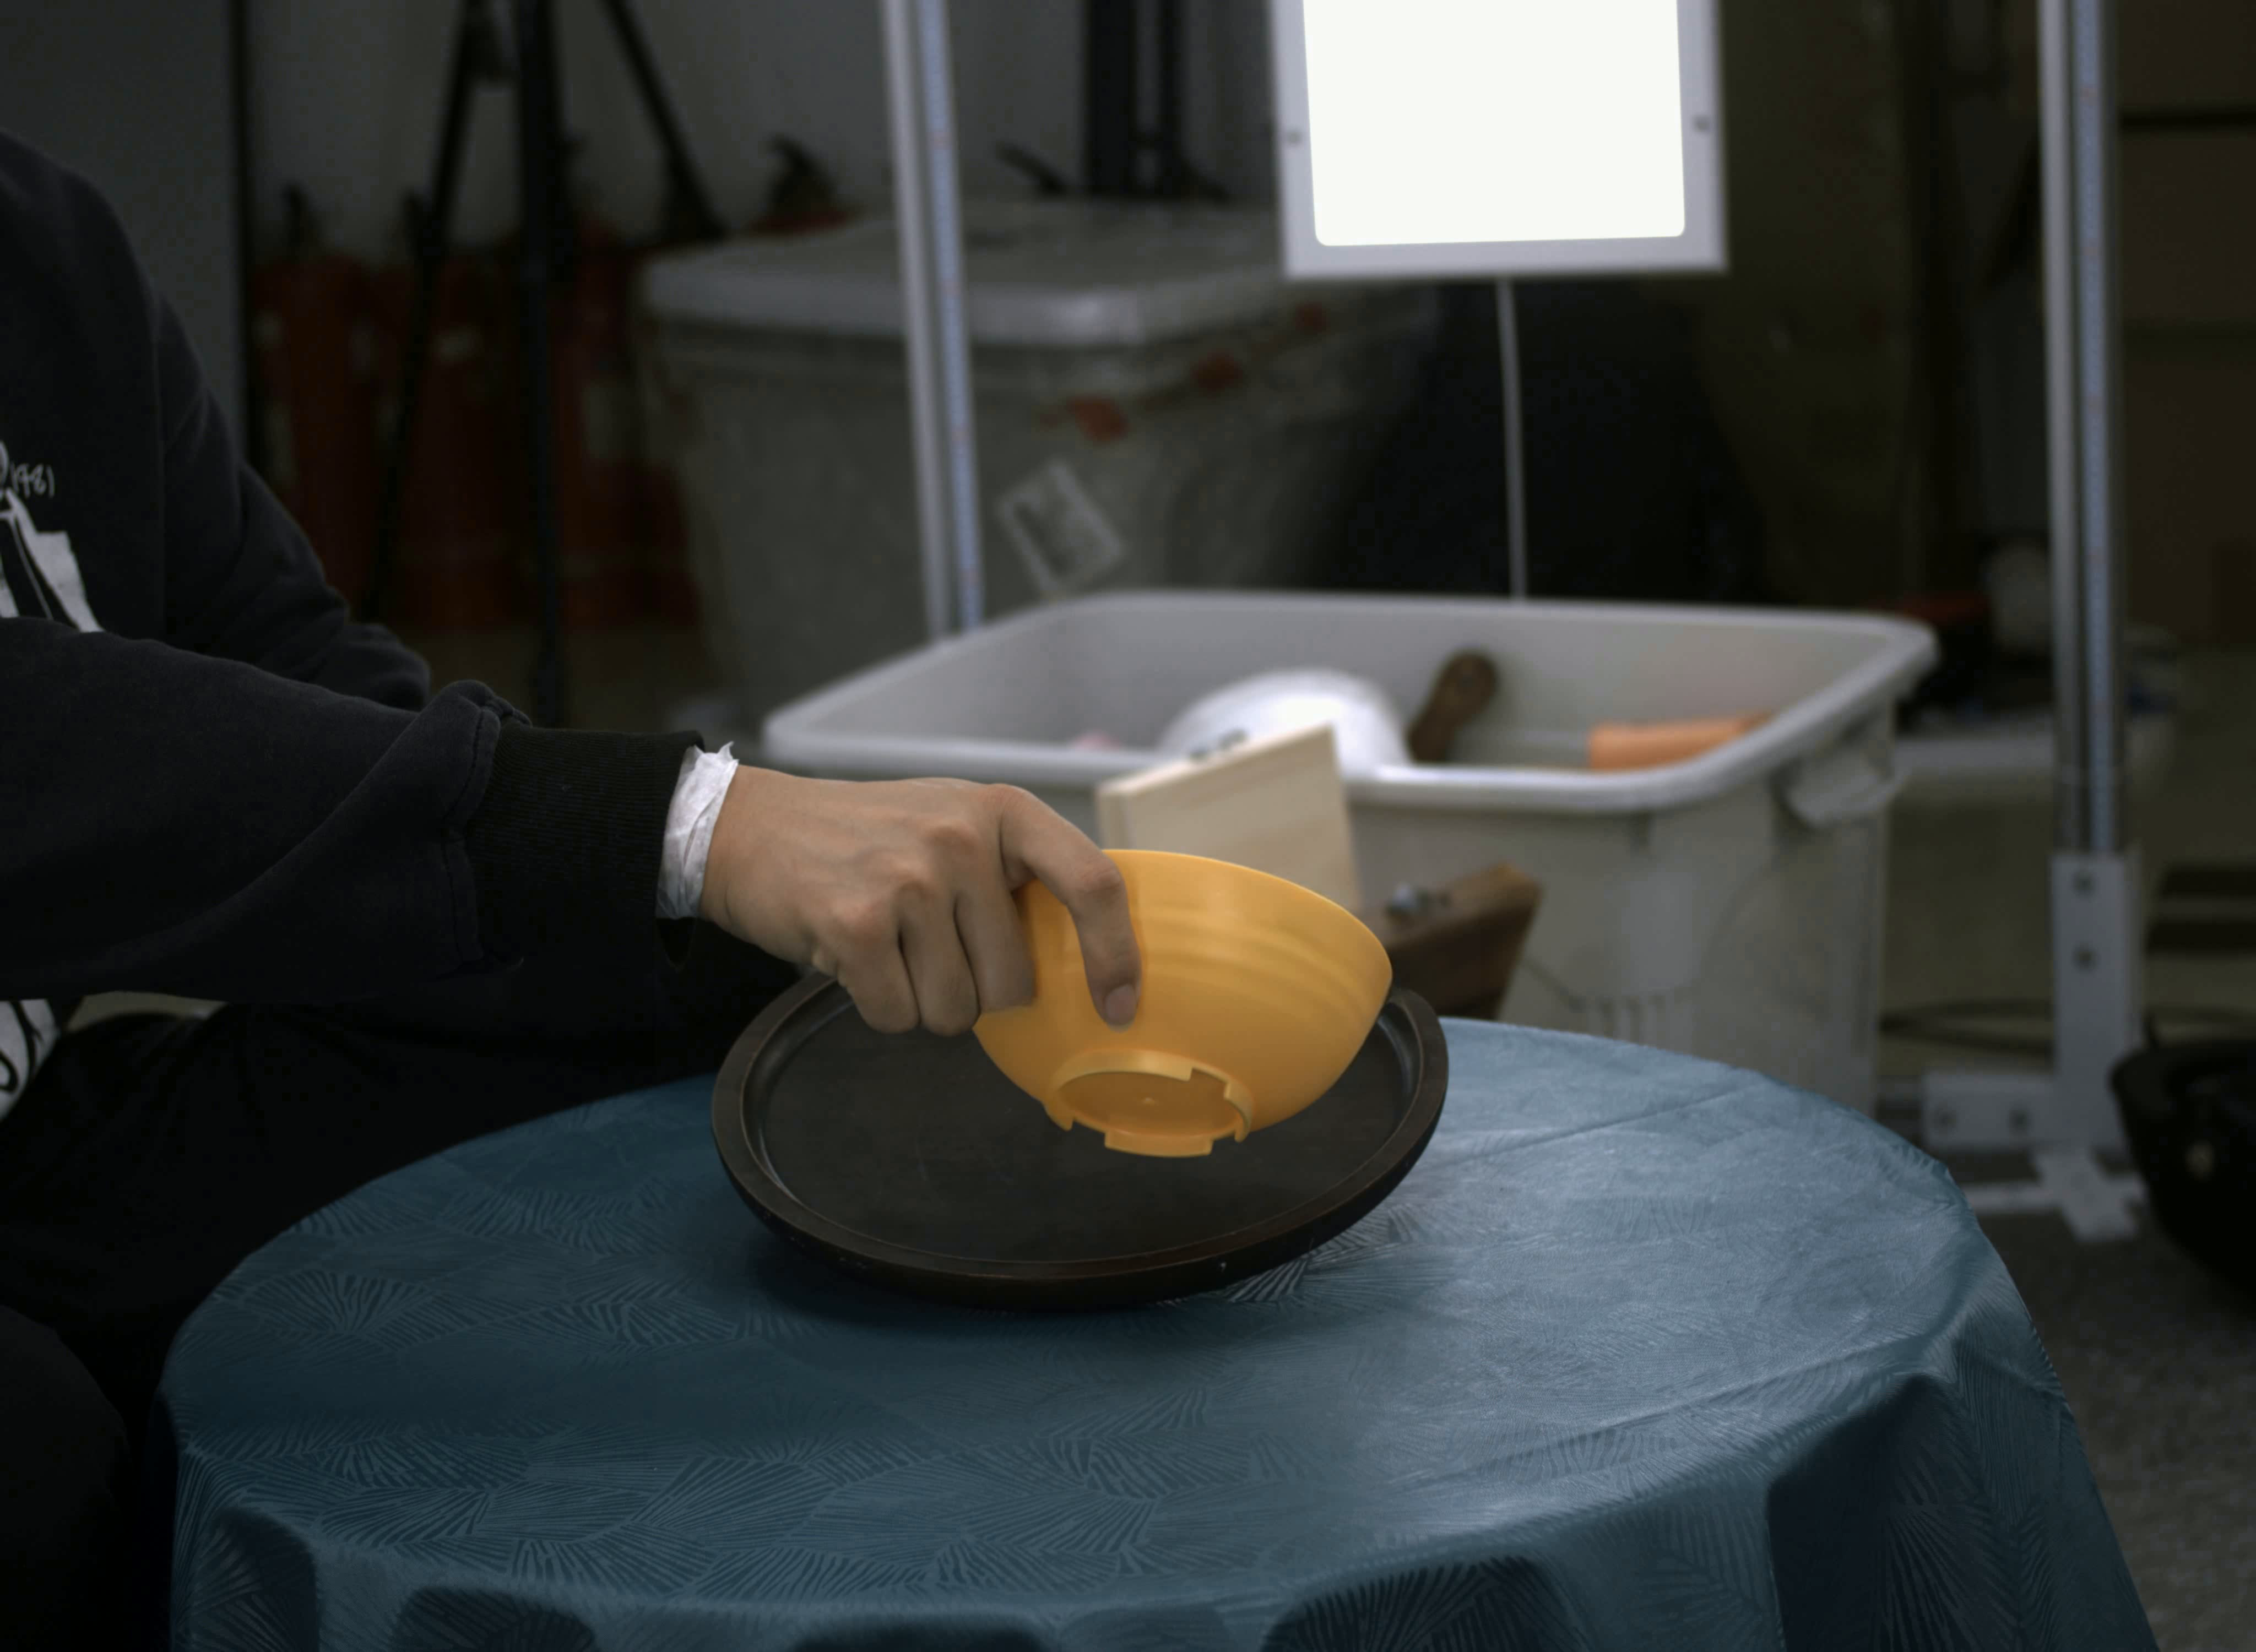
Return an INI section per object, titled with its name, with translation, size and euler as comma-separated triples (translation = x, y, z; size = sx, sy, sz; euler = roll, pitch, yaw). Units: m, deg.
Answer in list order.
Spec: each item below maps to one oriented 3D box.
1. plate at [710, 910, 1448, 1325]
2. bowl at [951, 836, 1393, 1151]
[plate]
translation = -0.016, 0.093, 1.876
size = 0.254, 0.029, 0.254
euler = -6, 30, 2
[bowl]
translation = 0.010, 0.063, 1.748
size = 0.145, 0.060, 0.146
euler = 9, -27, 3
